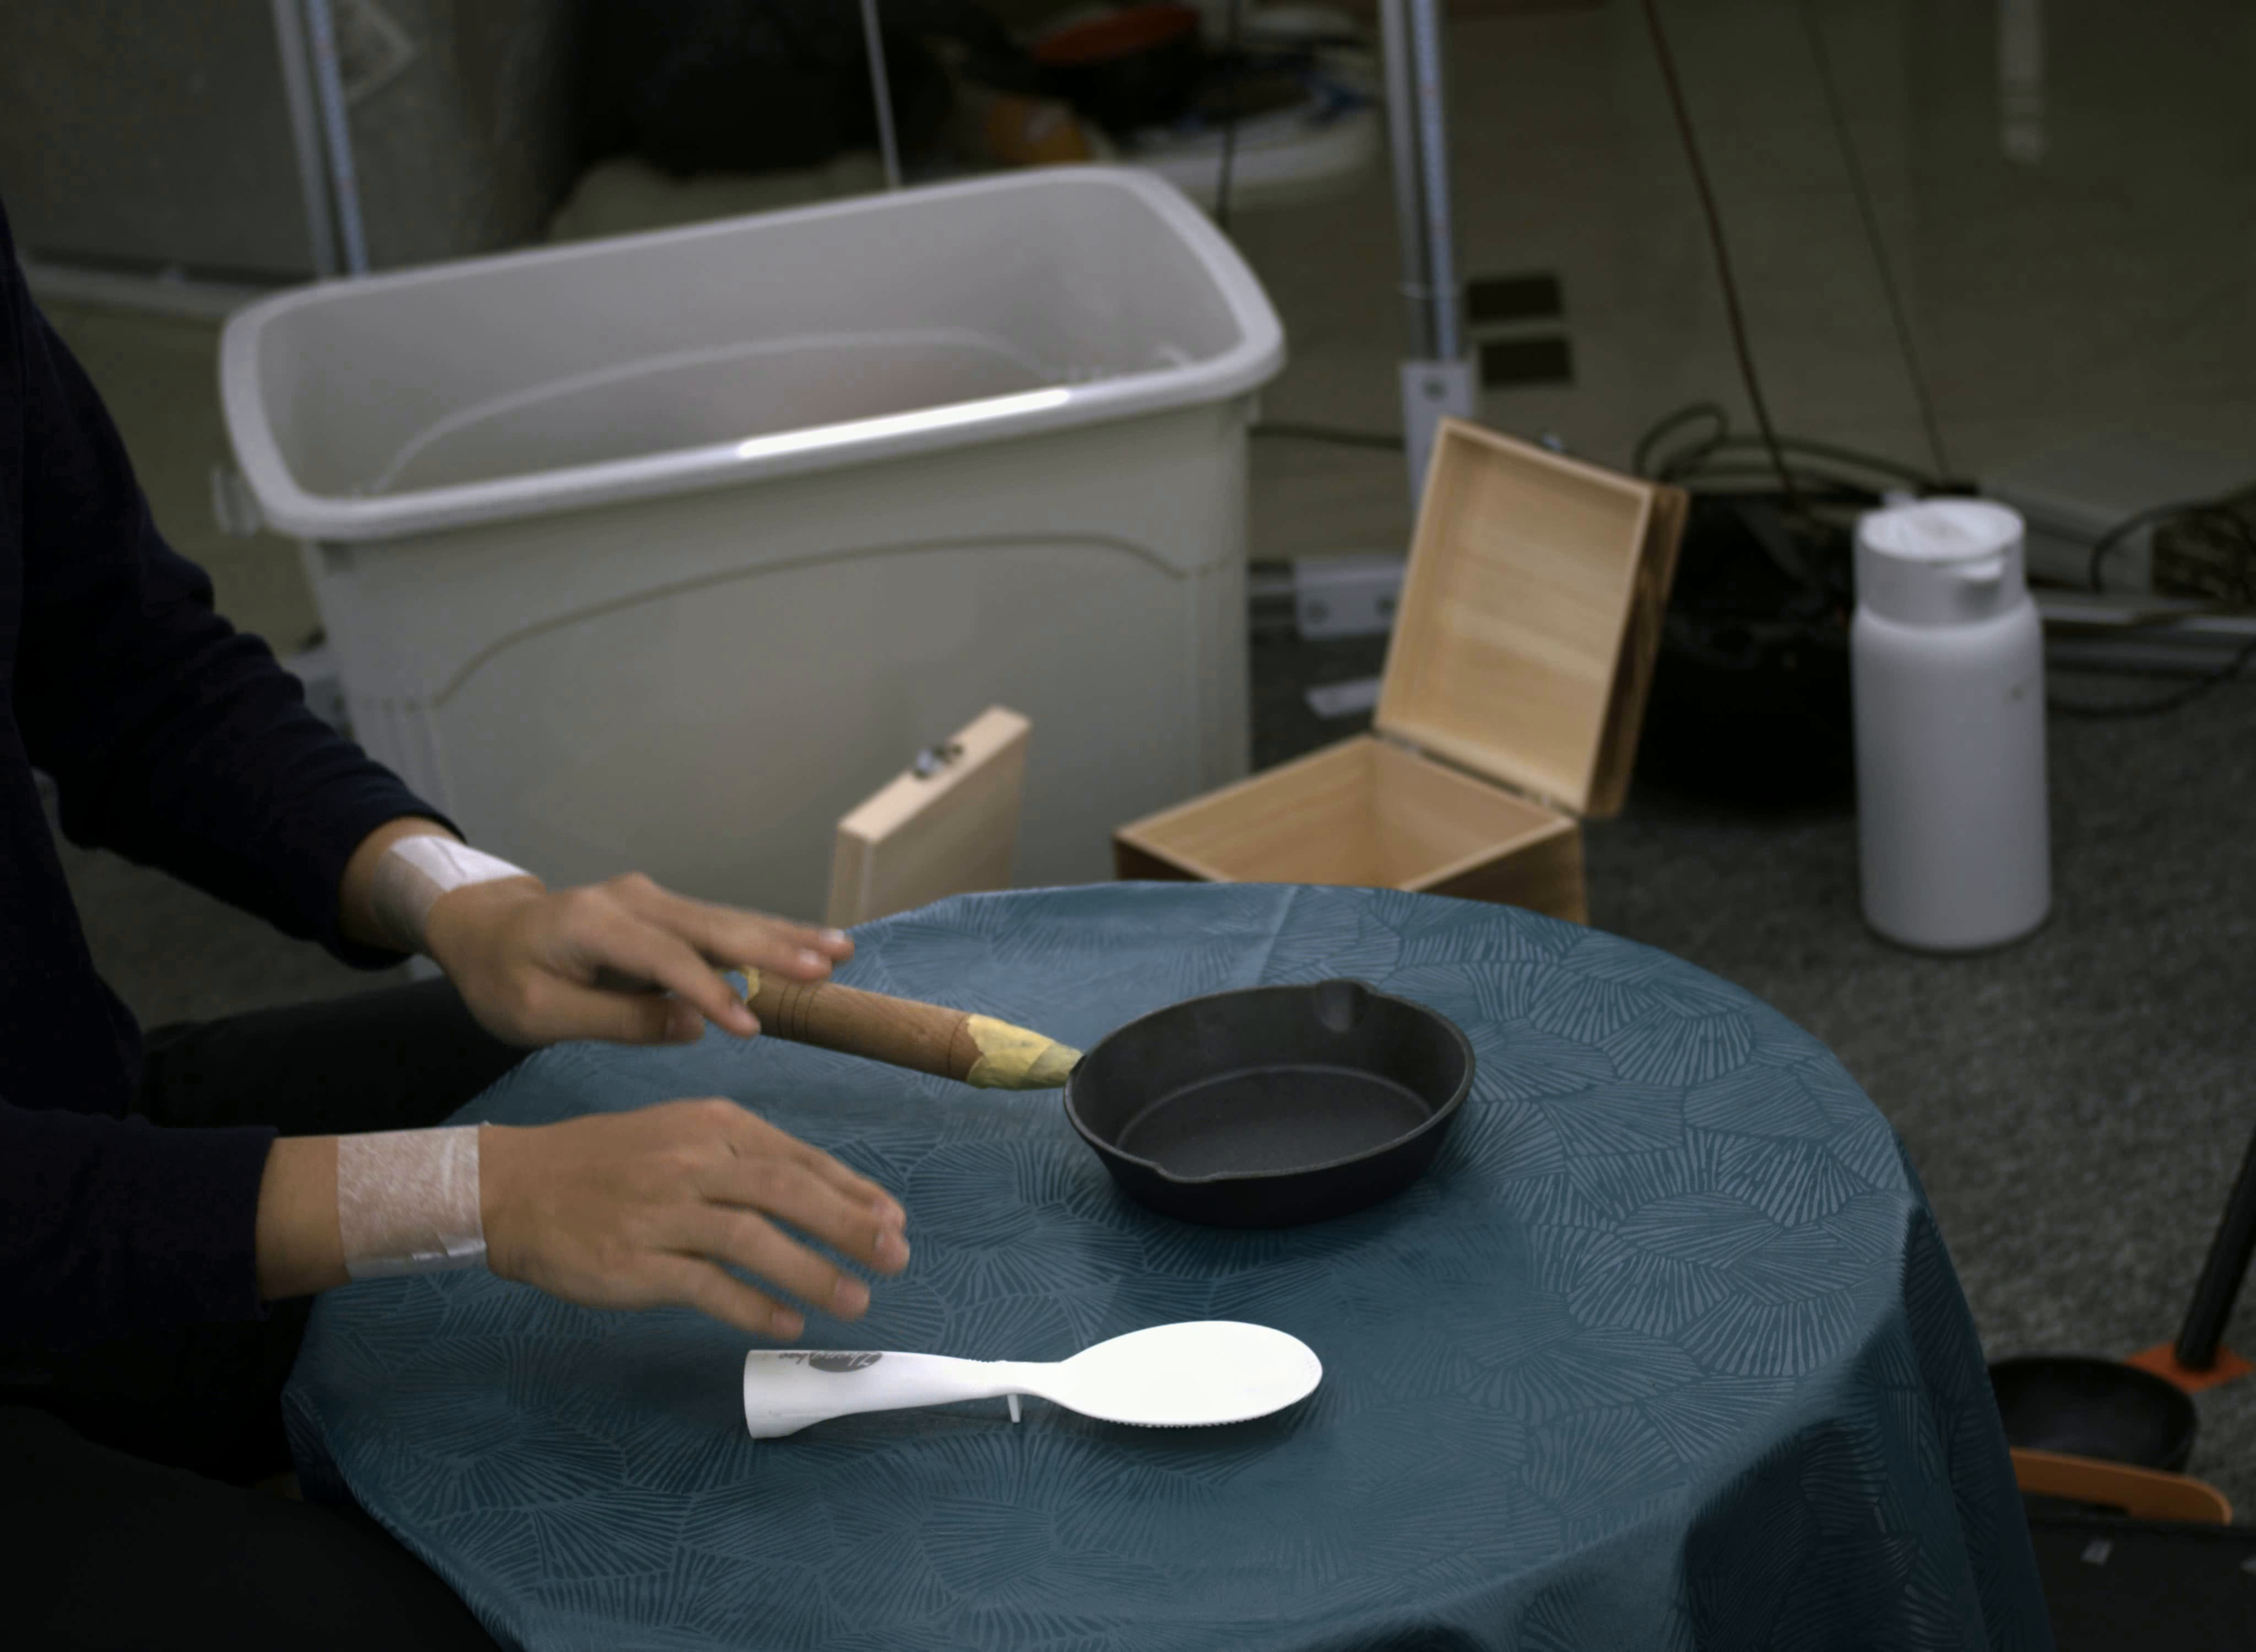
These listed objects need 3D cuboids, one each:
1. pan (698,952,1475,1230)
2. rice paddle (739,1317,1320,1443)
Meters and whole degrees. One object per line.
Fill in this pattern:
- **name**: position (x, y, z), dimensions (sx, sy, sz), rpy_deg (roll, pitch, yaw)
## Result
- **pan**: position (-0.021, 0.093, 2.190), dimensions (0.323, 0.050, 0.167), rpy_deg (8, 29, 25)
- **rice paddle**: position (-0.034, 0.195, 2.002), dimensions (0.205, 0.030, 0.068), rpy_deg (-4, 27, 6)
